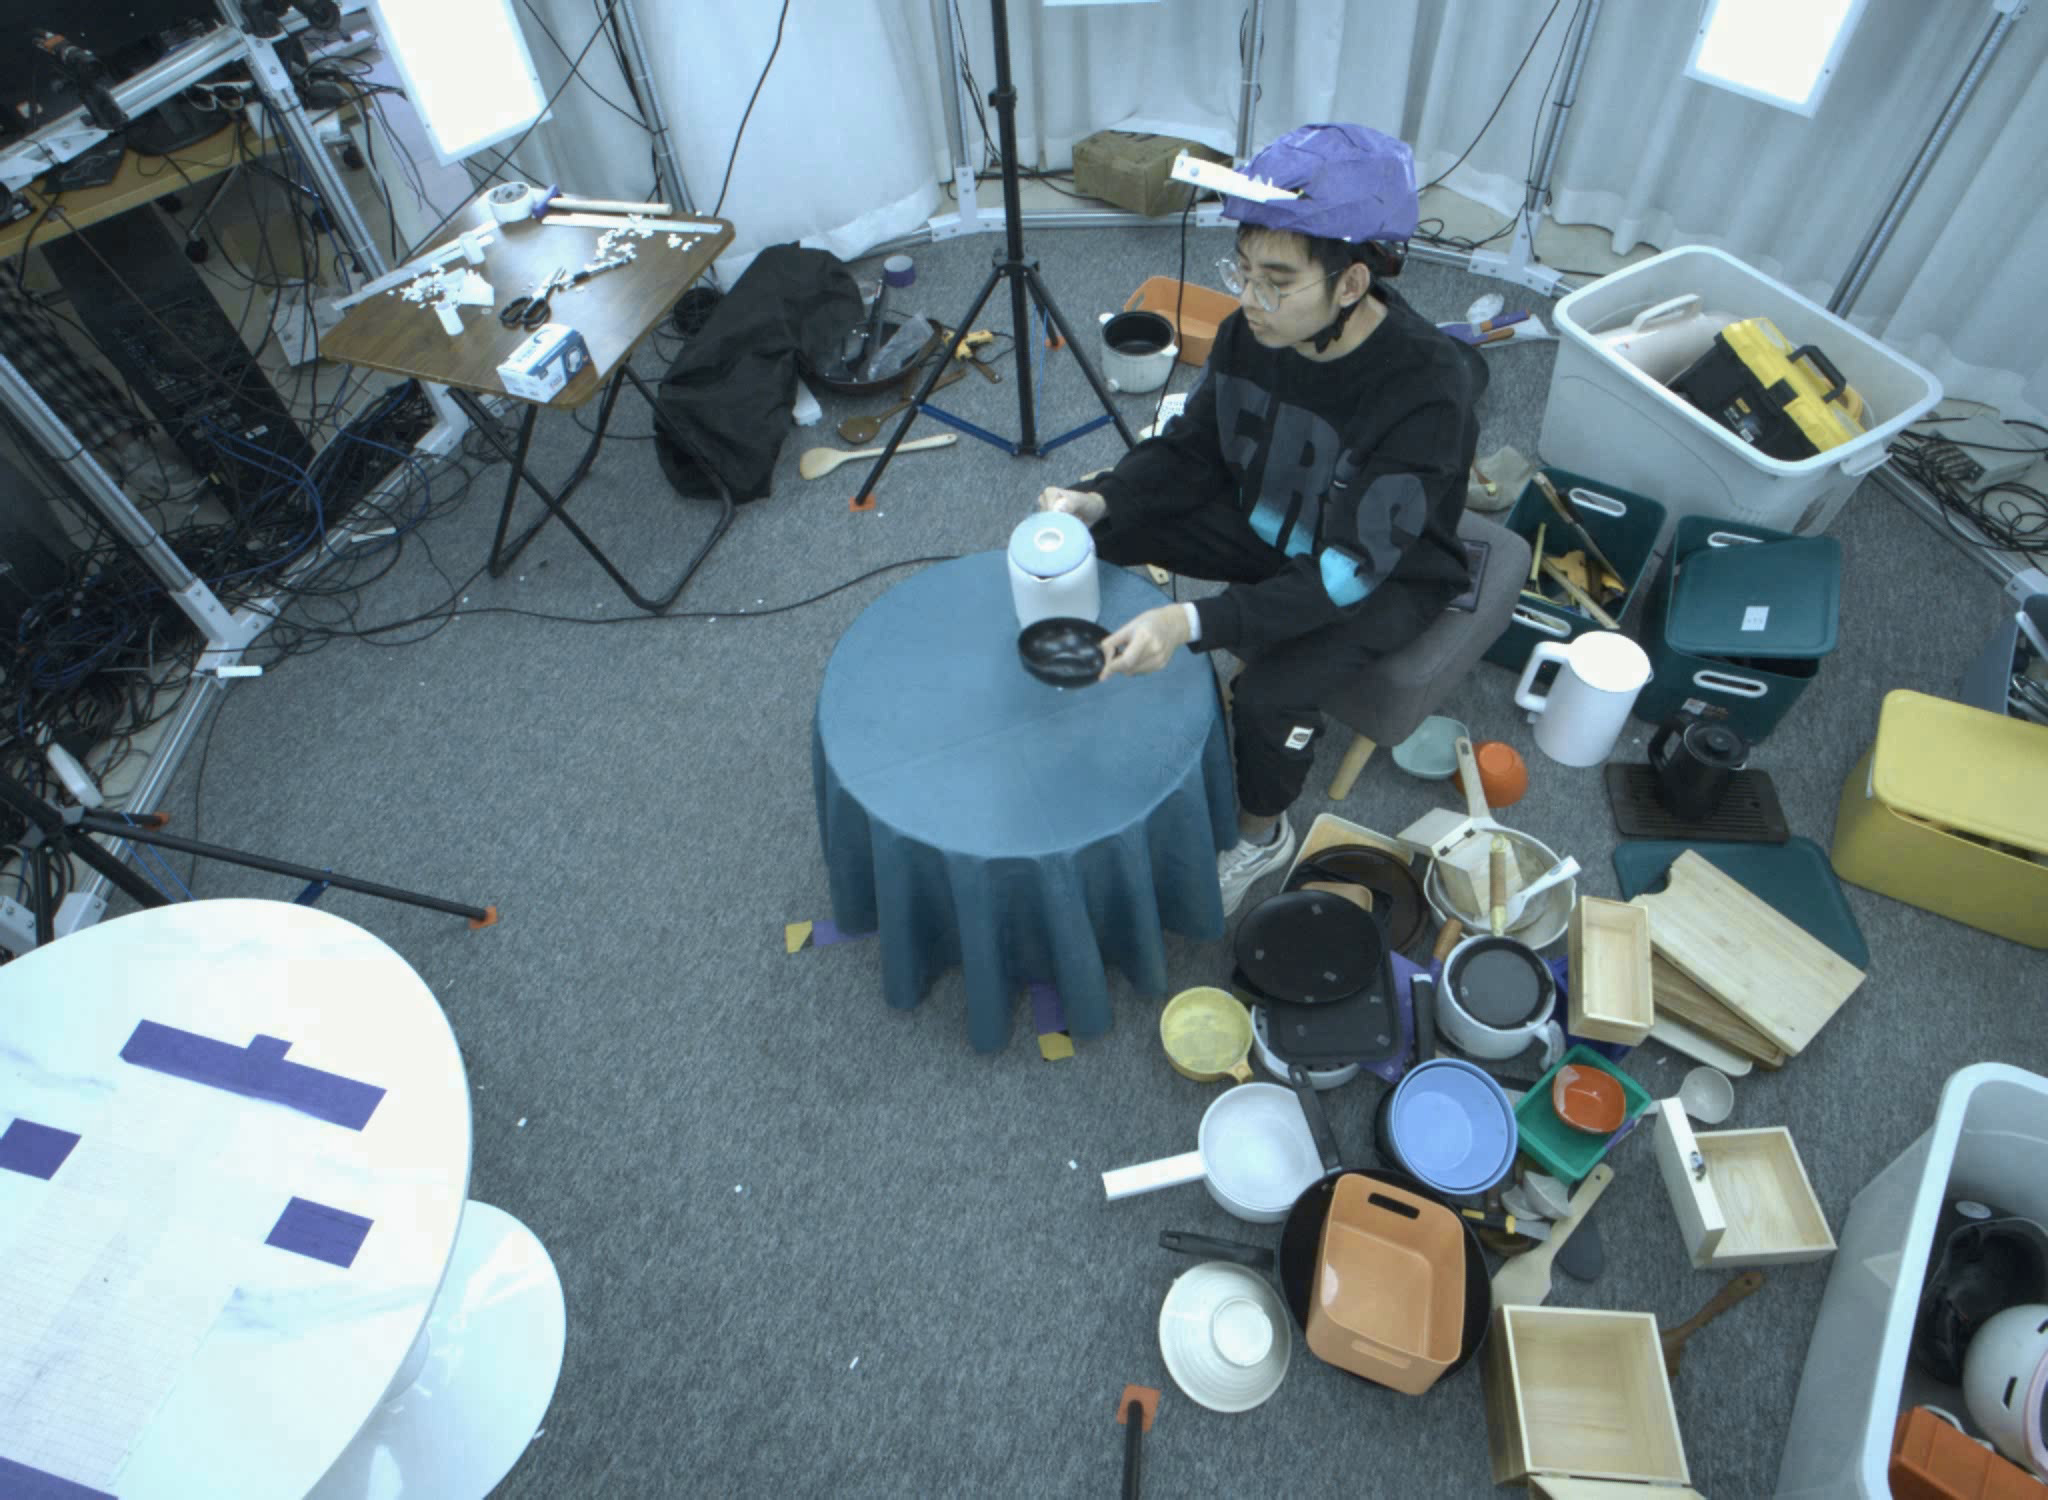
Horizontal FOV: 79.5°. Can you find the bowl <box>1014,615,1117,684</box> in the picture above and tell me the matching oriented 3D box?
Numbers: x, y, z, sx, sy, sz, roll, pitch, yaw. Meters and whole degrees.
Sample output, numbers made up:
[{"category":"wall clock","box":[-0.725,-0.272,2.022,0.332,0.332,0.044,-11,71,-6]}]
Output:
[{"category":"bowl","box":[0.054,-0.128,1.666,0.140,0.050,0.138,6,35,-3]}]

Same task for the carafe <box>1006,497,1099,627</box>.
[{"category":"carafe","box":[0.047,-0.281,1.847,0.131,0.184,0.190,5,60,8]}]
